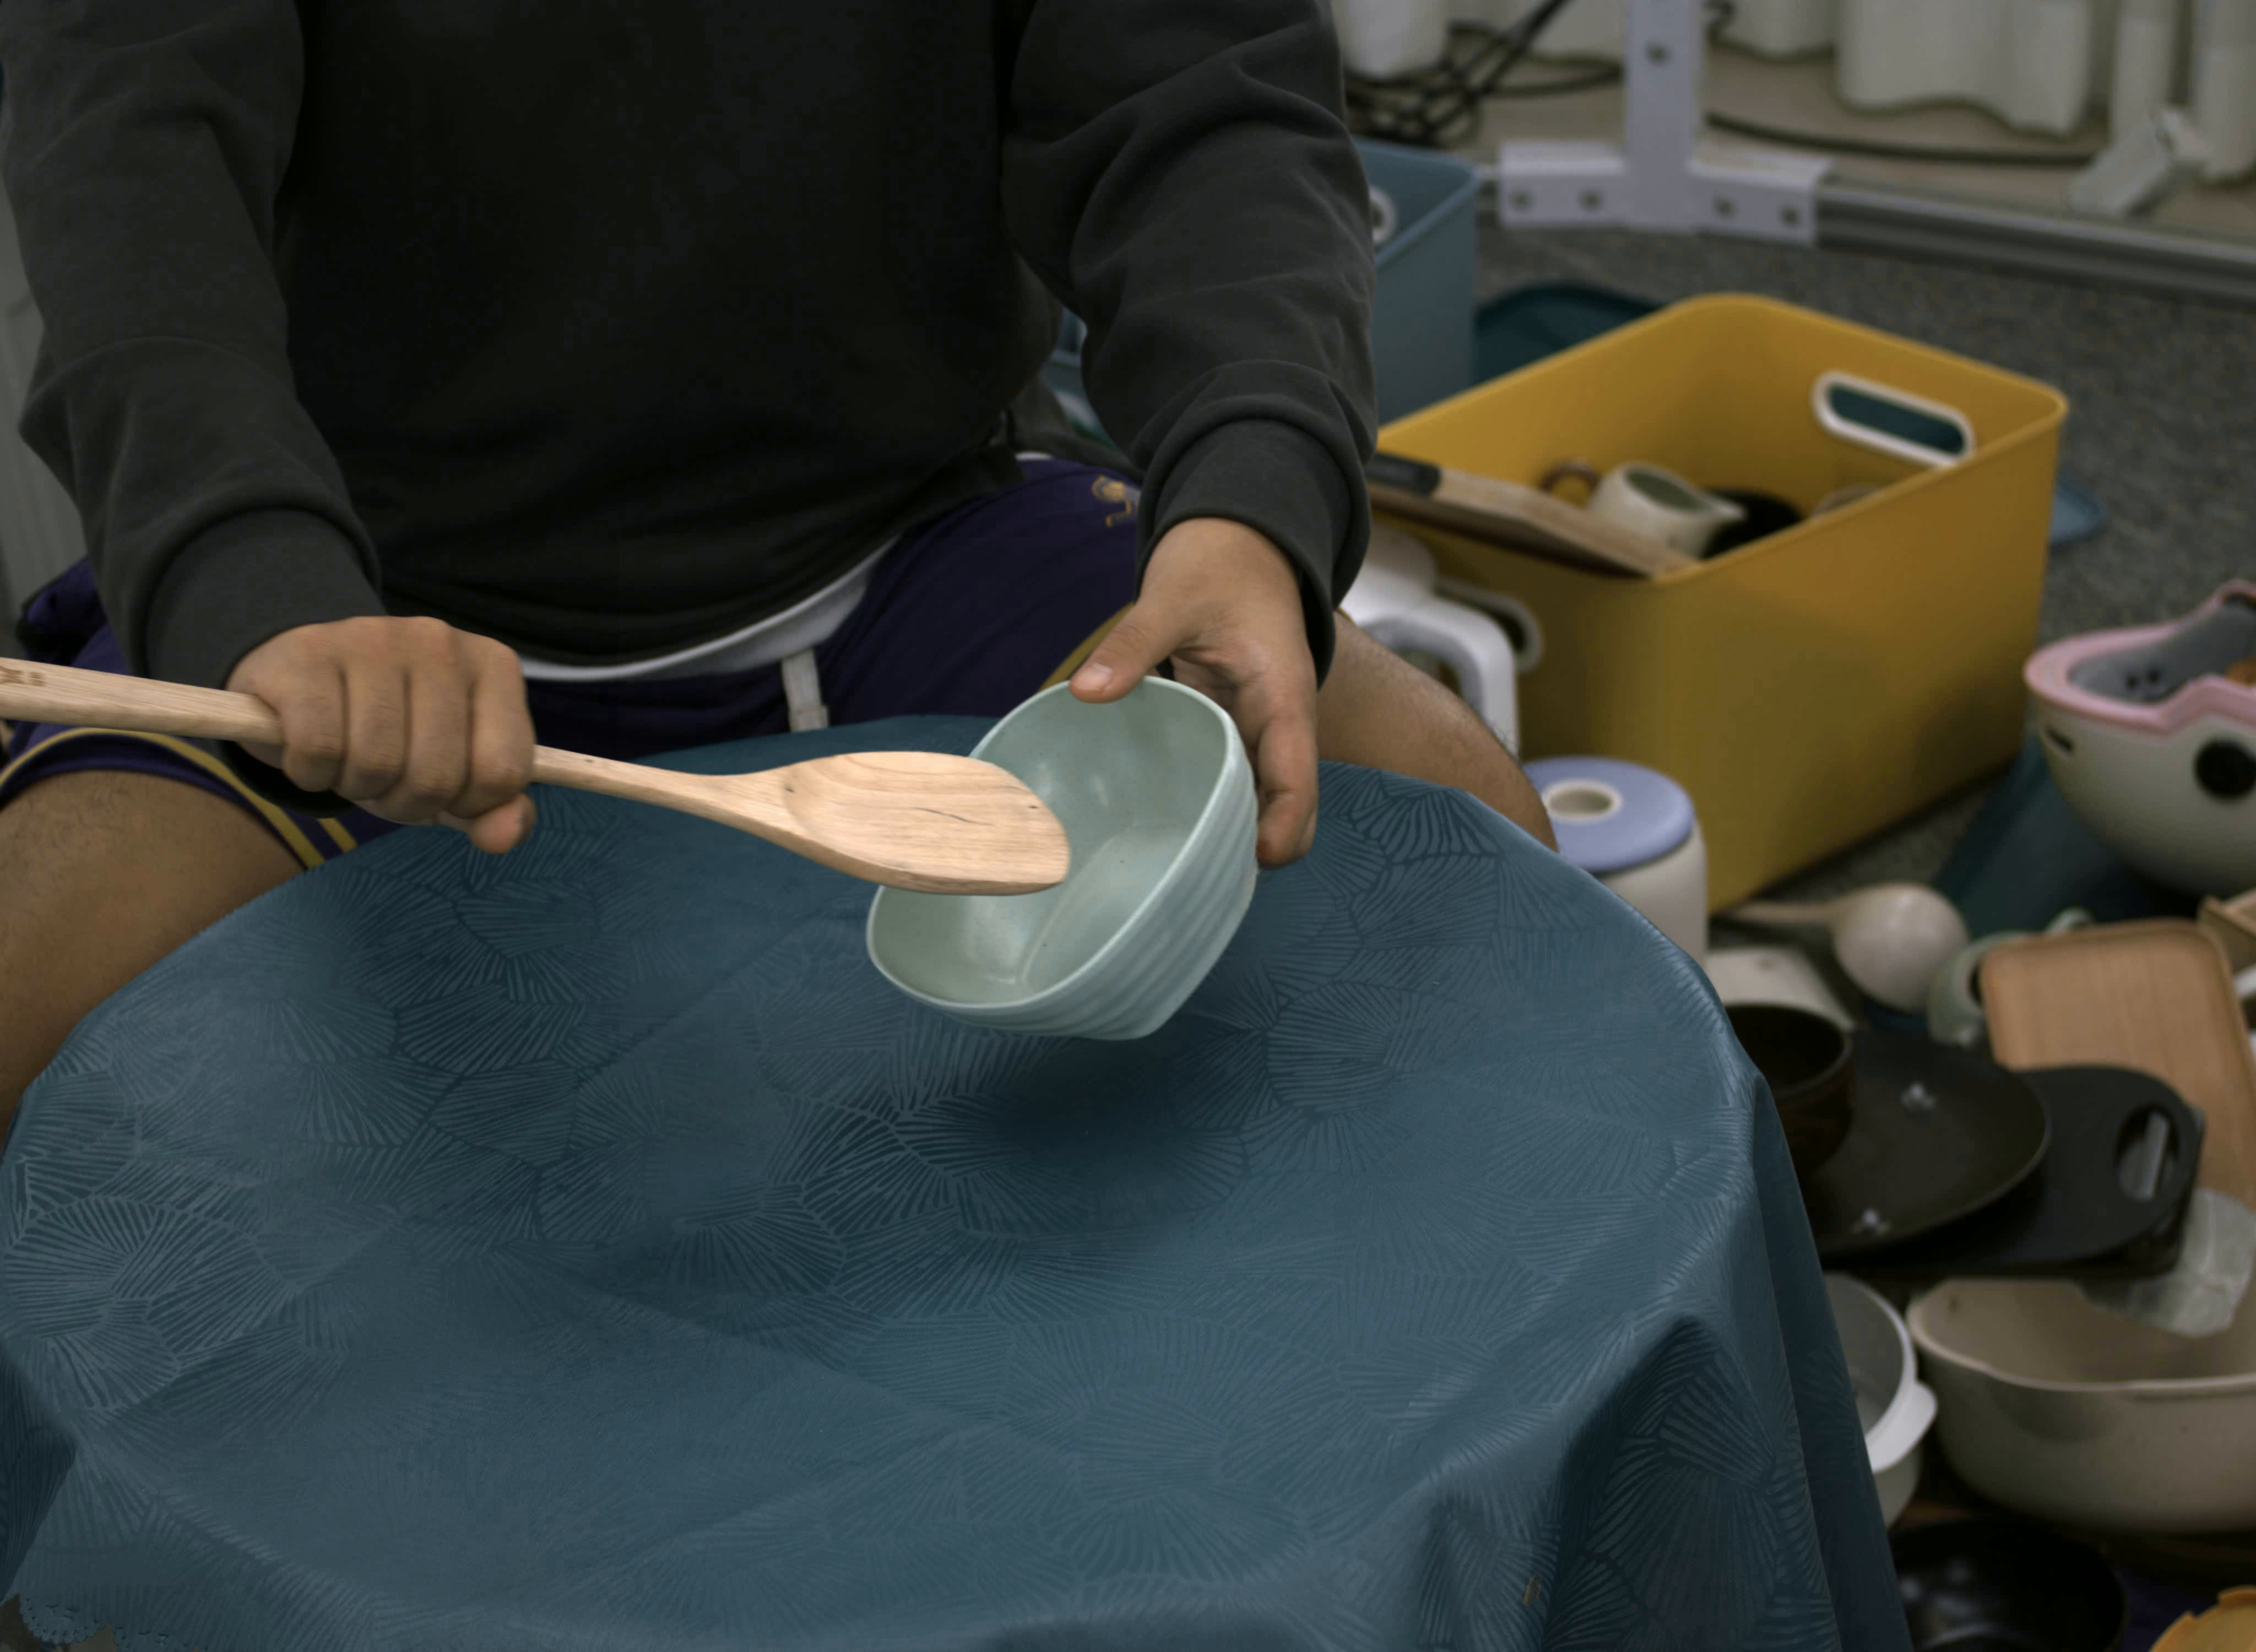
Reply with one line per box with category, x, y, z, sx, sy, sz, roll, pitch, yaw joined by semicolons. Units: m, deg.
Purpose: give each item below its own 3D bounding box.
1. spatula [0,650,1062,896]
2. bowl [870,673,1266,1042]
spatula;-0.208;-0.021;1.804;0.390;0.018;0.097;9;22;-19
bowl;-0.010;0.021;1.900;0.149;0.058;0.154;-23;40;22
